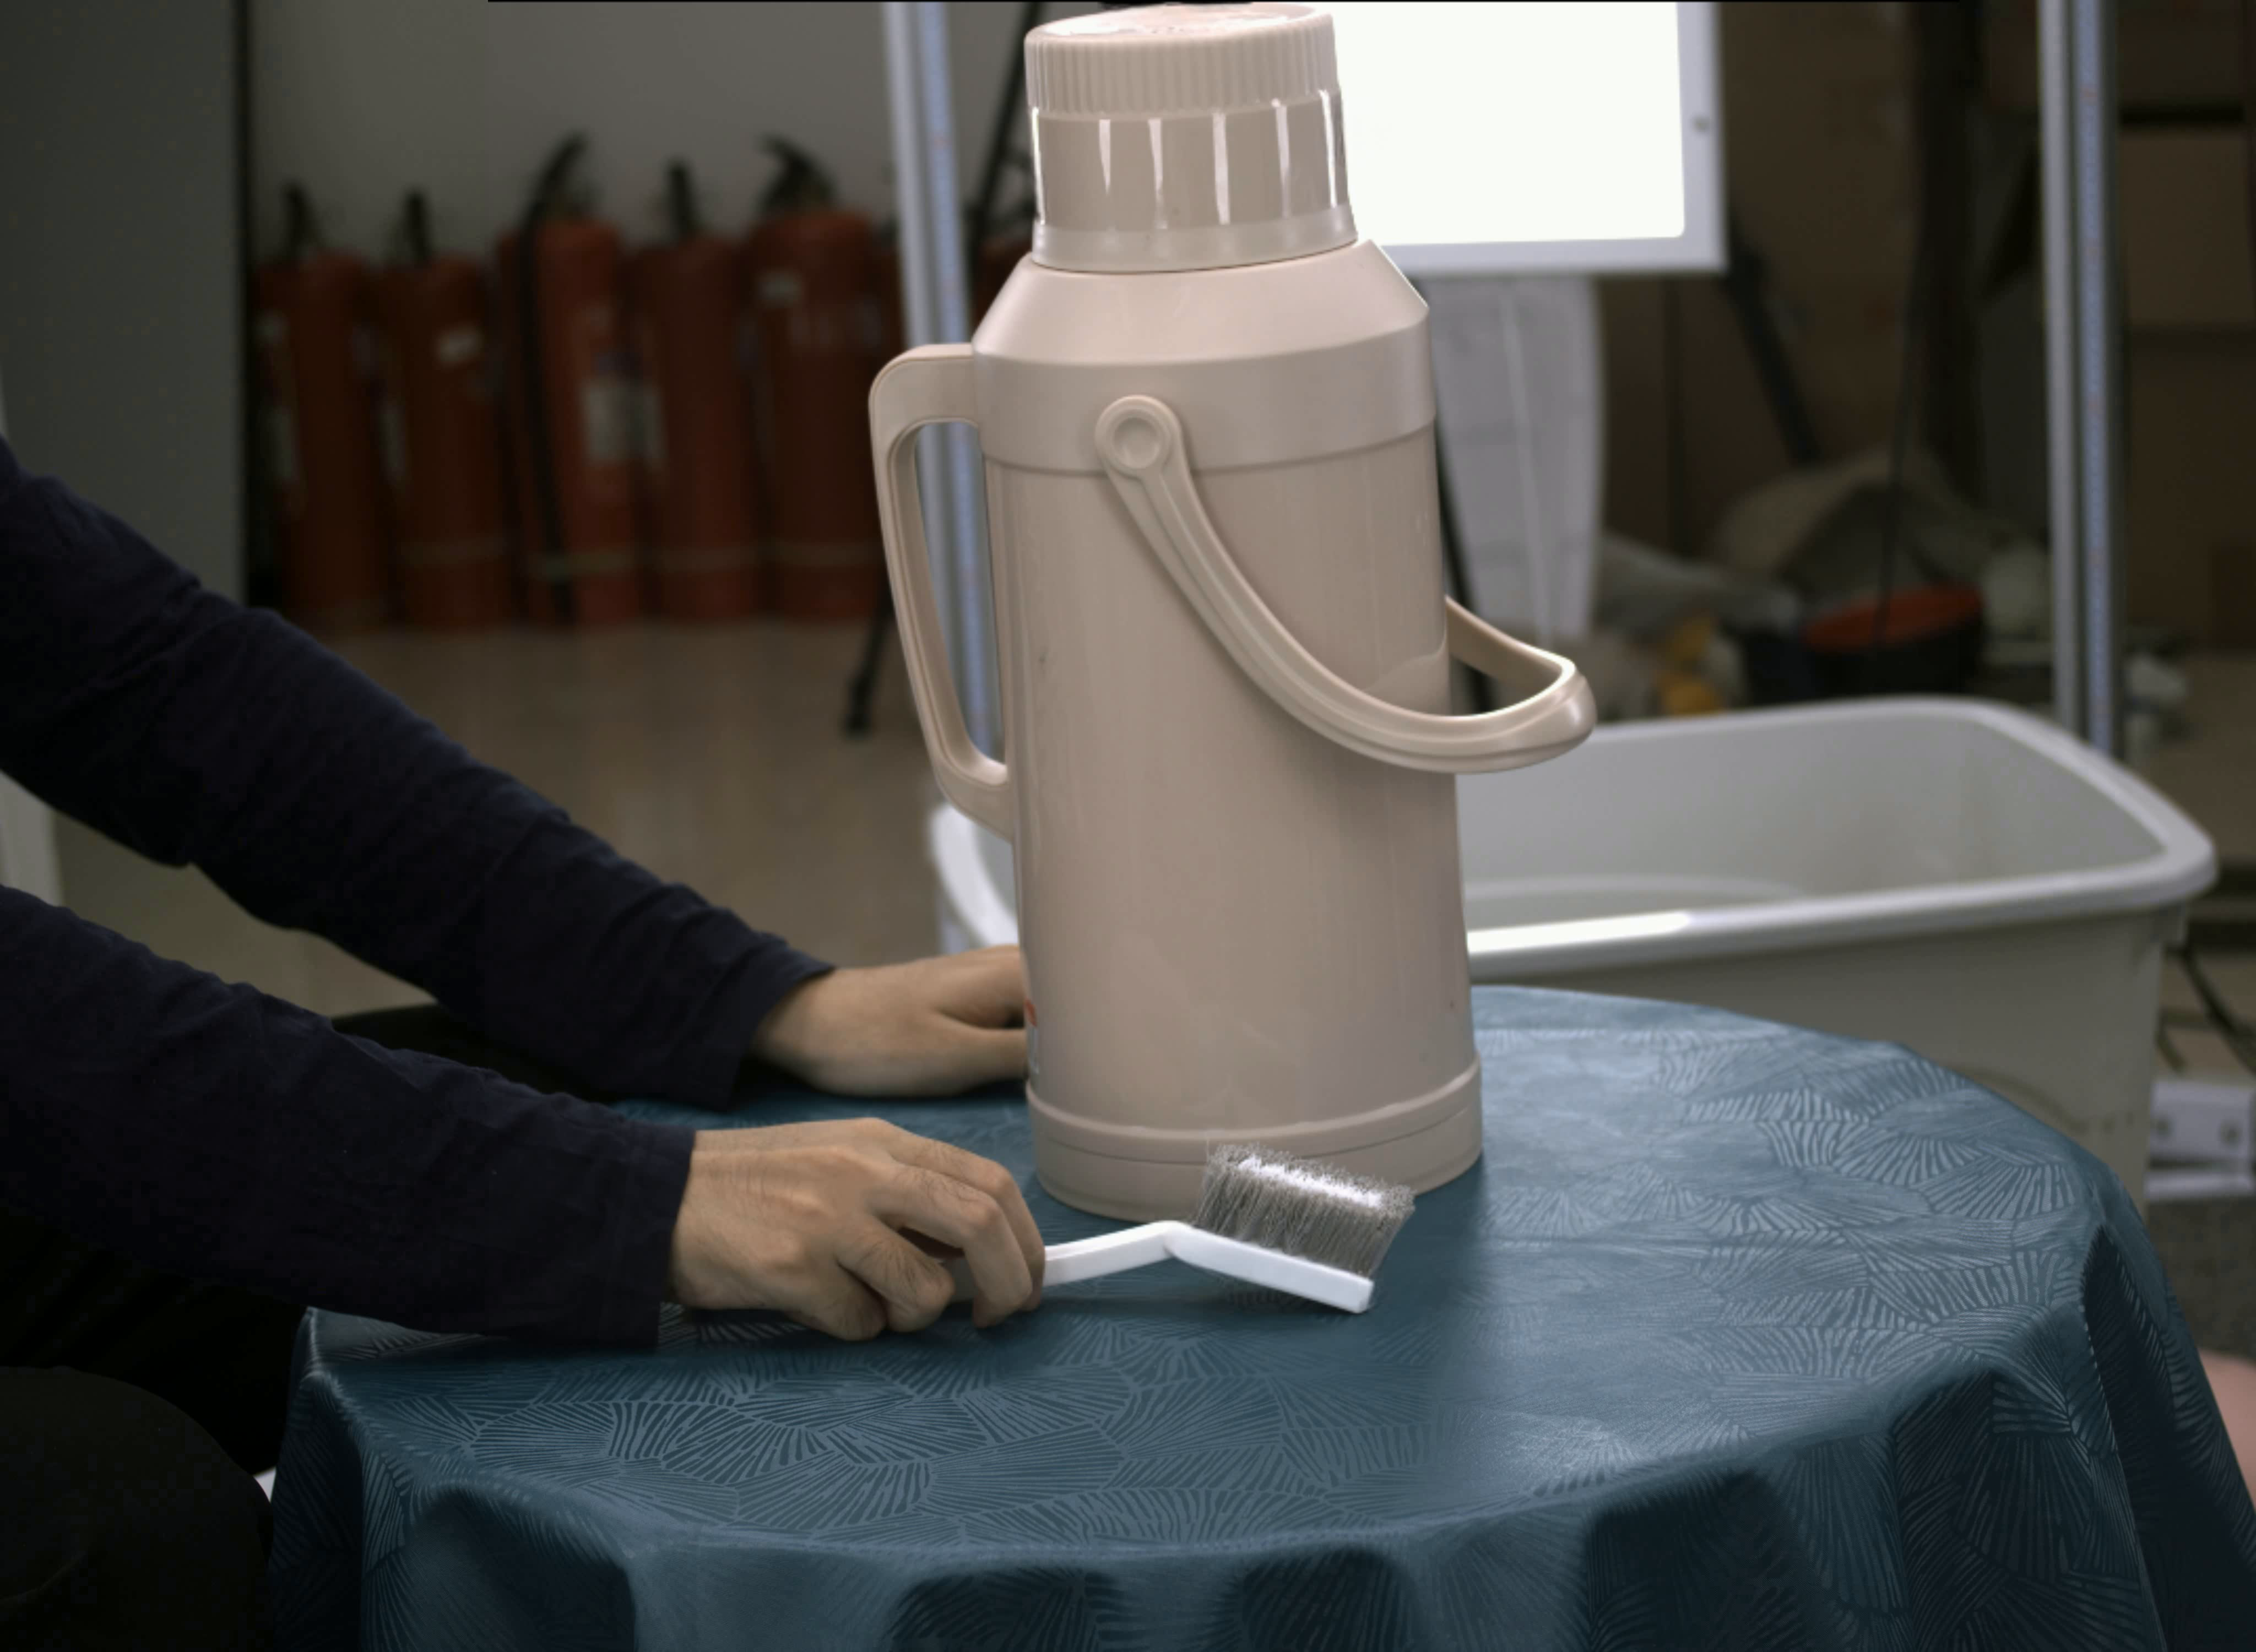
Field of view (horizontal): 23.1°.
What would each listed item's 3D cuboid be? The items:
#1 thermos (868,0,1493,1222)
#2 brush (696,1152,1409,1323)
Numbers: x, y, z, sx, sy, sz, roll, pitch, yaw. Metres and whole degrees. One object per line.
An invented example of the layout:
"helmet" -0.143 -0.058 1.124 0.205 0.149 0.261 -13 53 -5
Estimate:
"thermos" 0.019 -0.076 1.885 0.209 0.408 0.173 -1 16 17
"brush" -0.028 0.131 1.788 0.246 0.050 0.034 0 21 19
